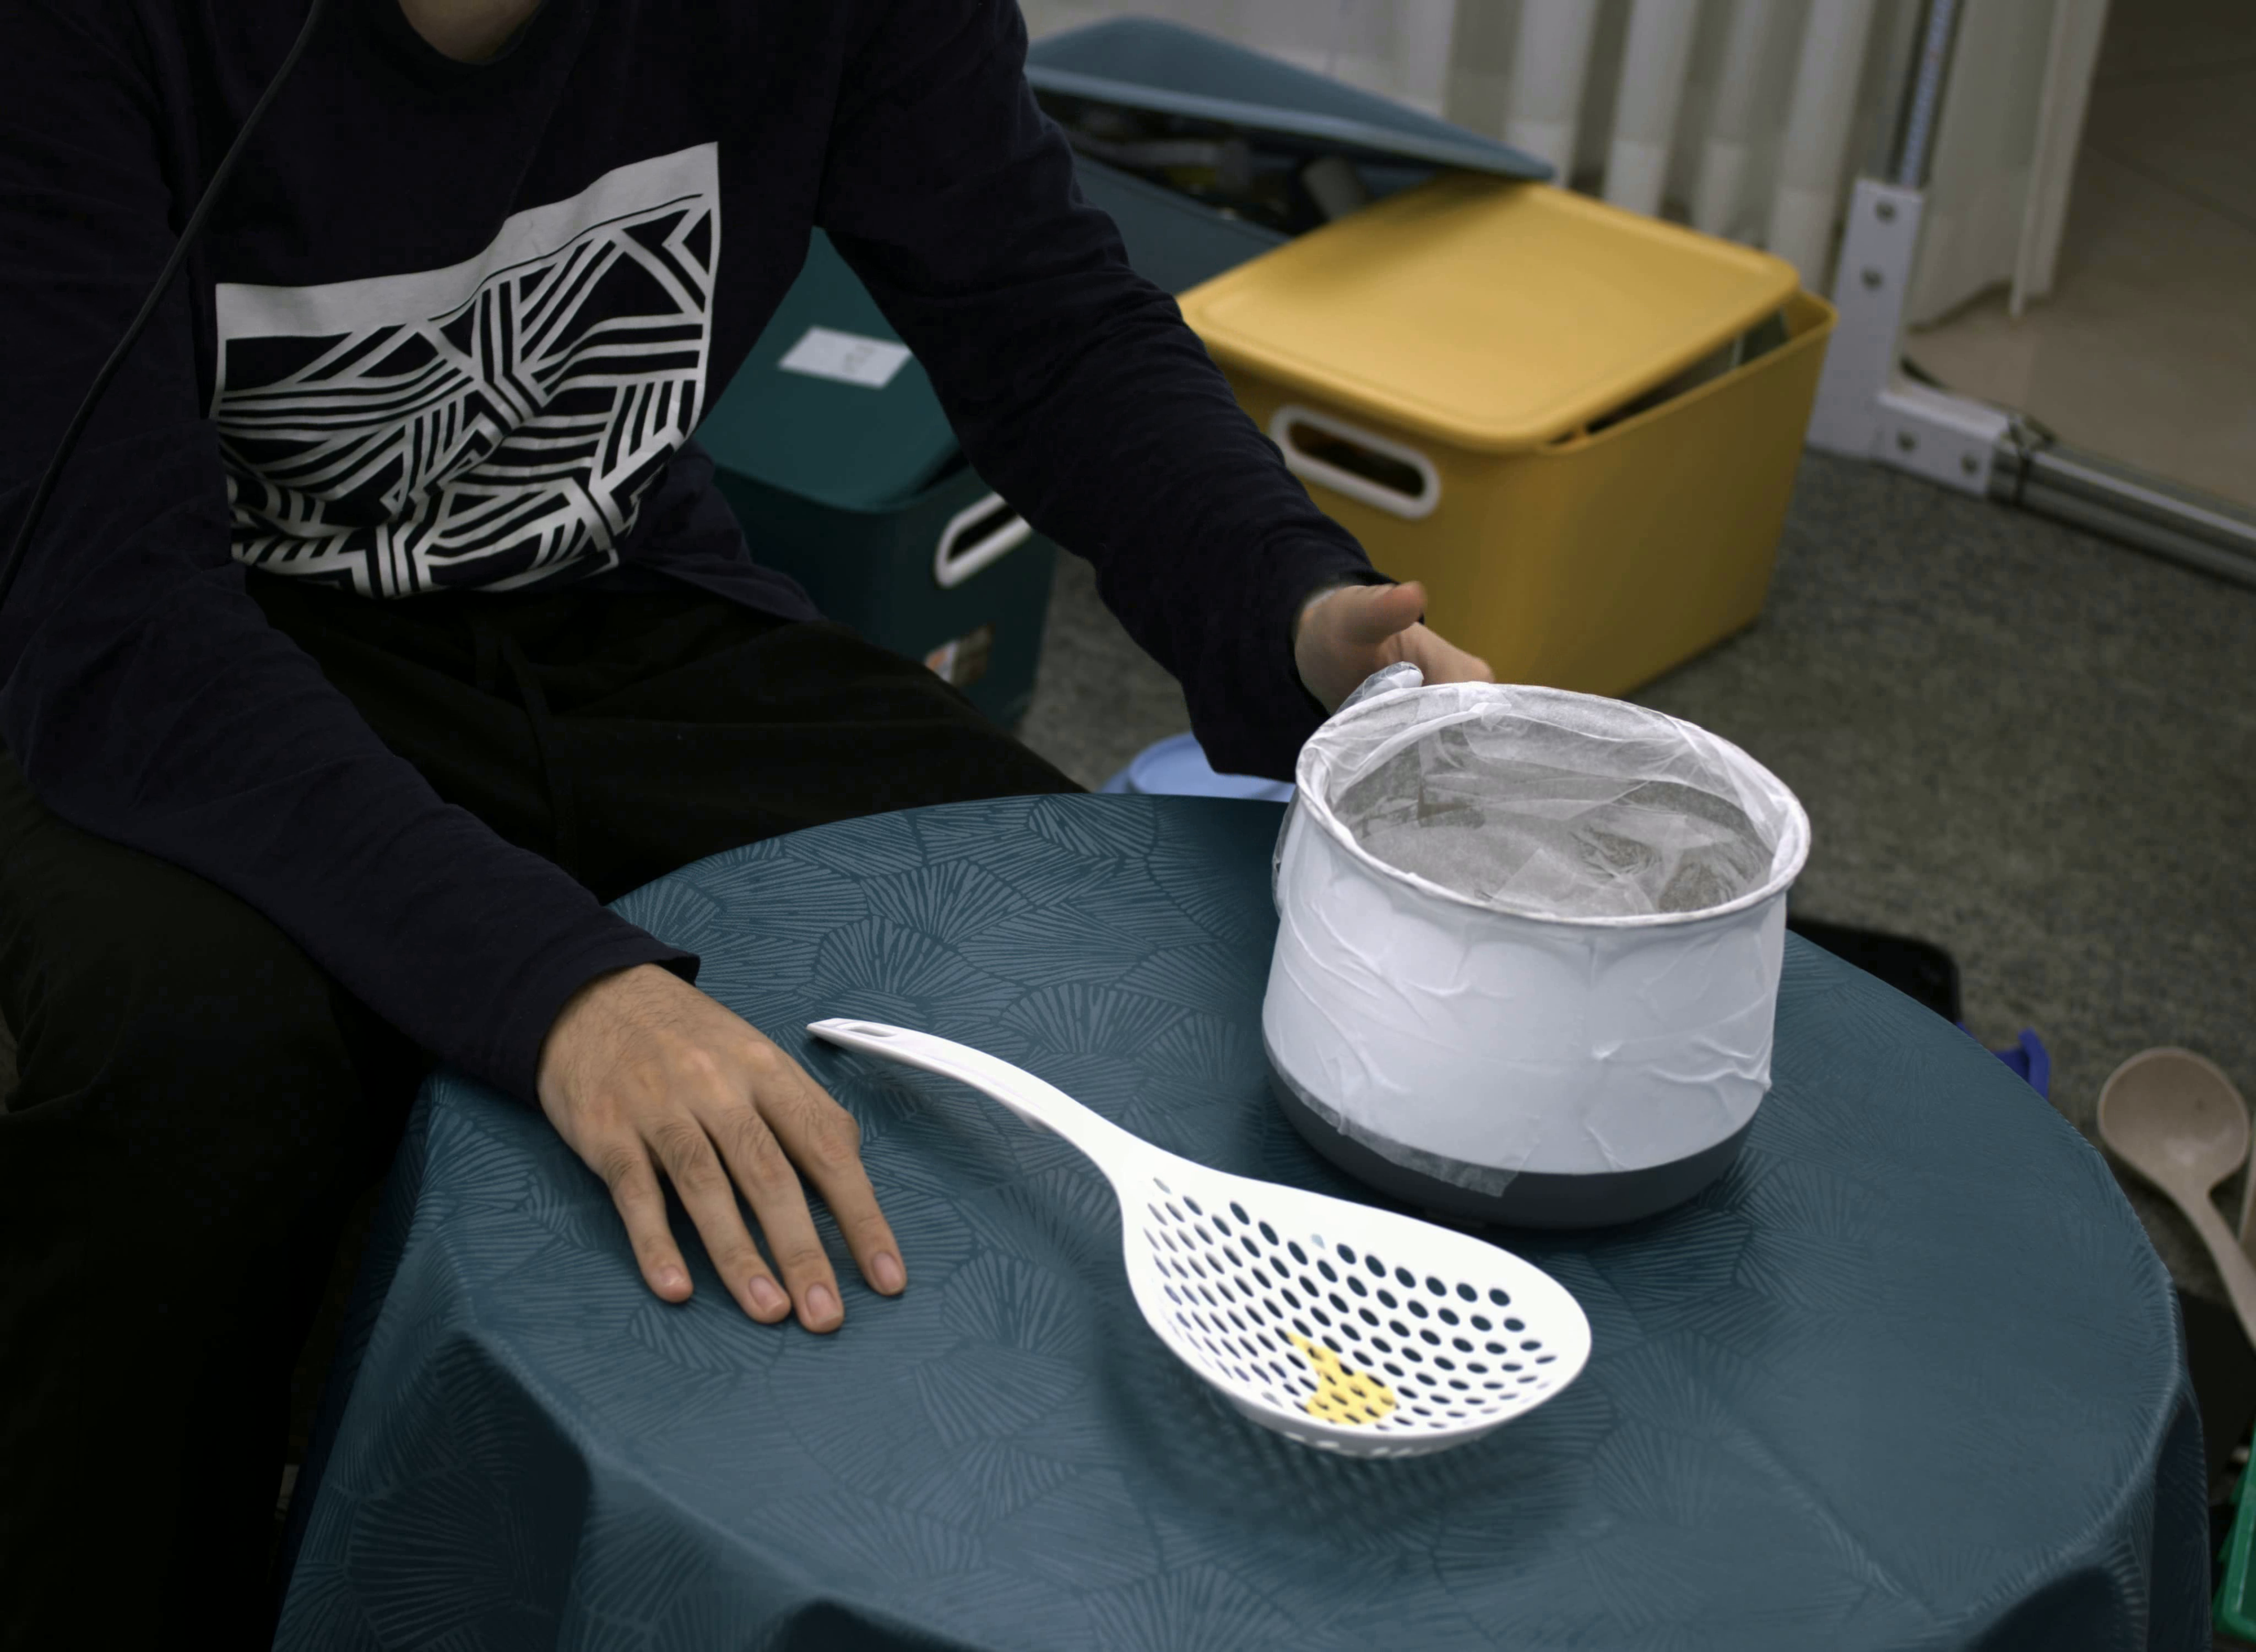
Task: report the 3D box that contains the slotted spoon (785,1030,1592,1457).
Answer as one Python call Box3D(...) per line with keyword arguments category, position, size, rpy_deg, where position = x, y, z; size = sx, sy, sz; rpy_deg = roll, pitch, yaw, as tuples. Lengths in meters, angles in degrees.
Box3D(category="slotted spoon", position=(0.004, 0.125, 1.756), size=(0.136, 0.050, 0.351), rpy_deg=(-17, 36, -37))

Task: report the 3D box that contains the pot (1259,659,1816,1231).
Box3D(category="pot", position=(0.124, 0.034, 1.859), size=(0.177, 0.136, 0.236), rpy_deg=(-7, 30, -30))
